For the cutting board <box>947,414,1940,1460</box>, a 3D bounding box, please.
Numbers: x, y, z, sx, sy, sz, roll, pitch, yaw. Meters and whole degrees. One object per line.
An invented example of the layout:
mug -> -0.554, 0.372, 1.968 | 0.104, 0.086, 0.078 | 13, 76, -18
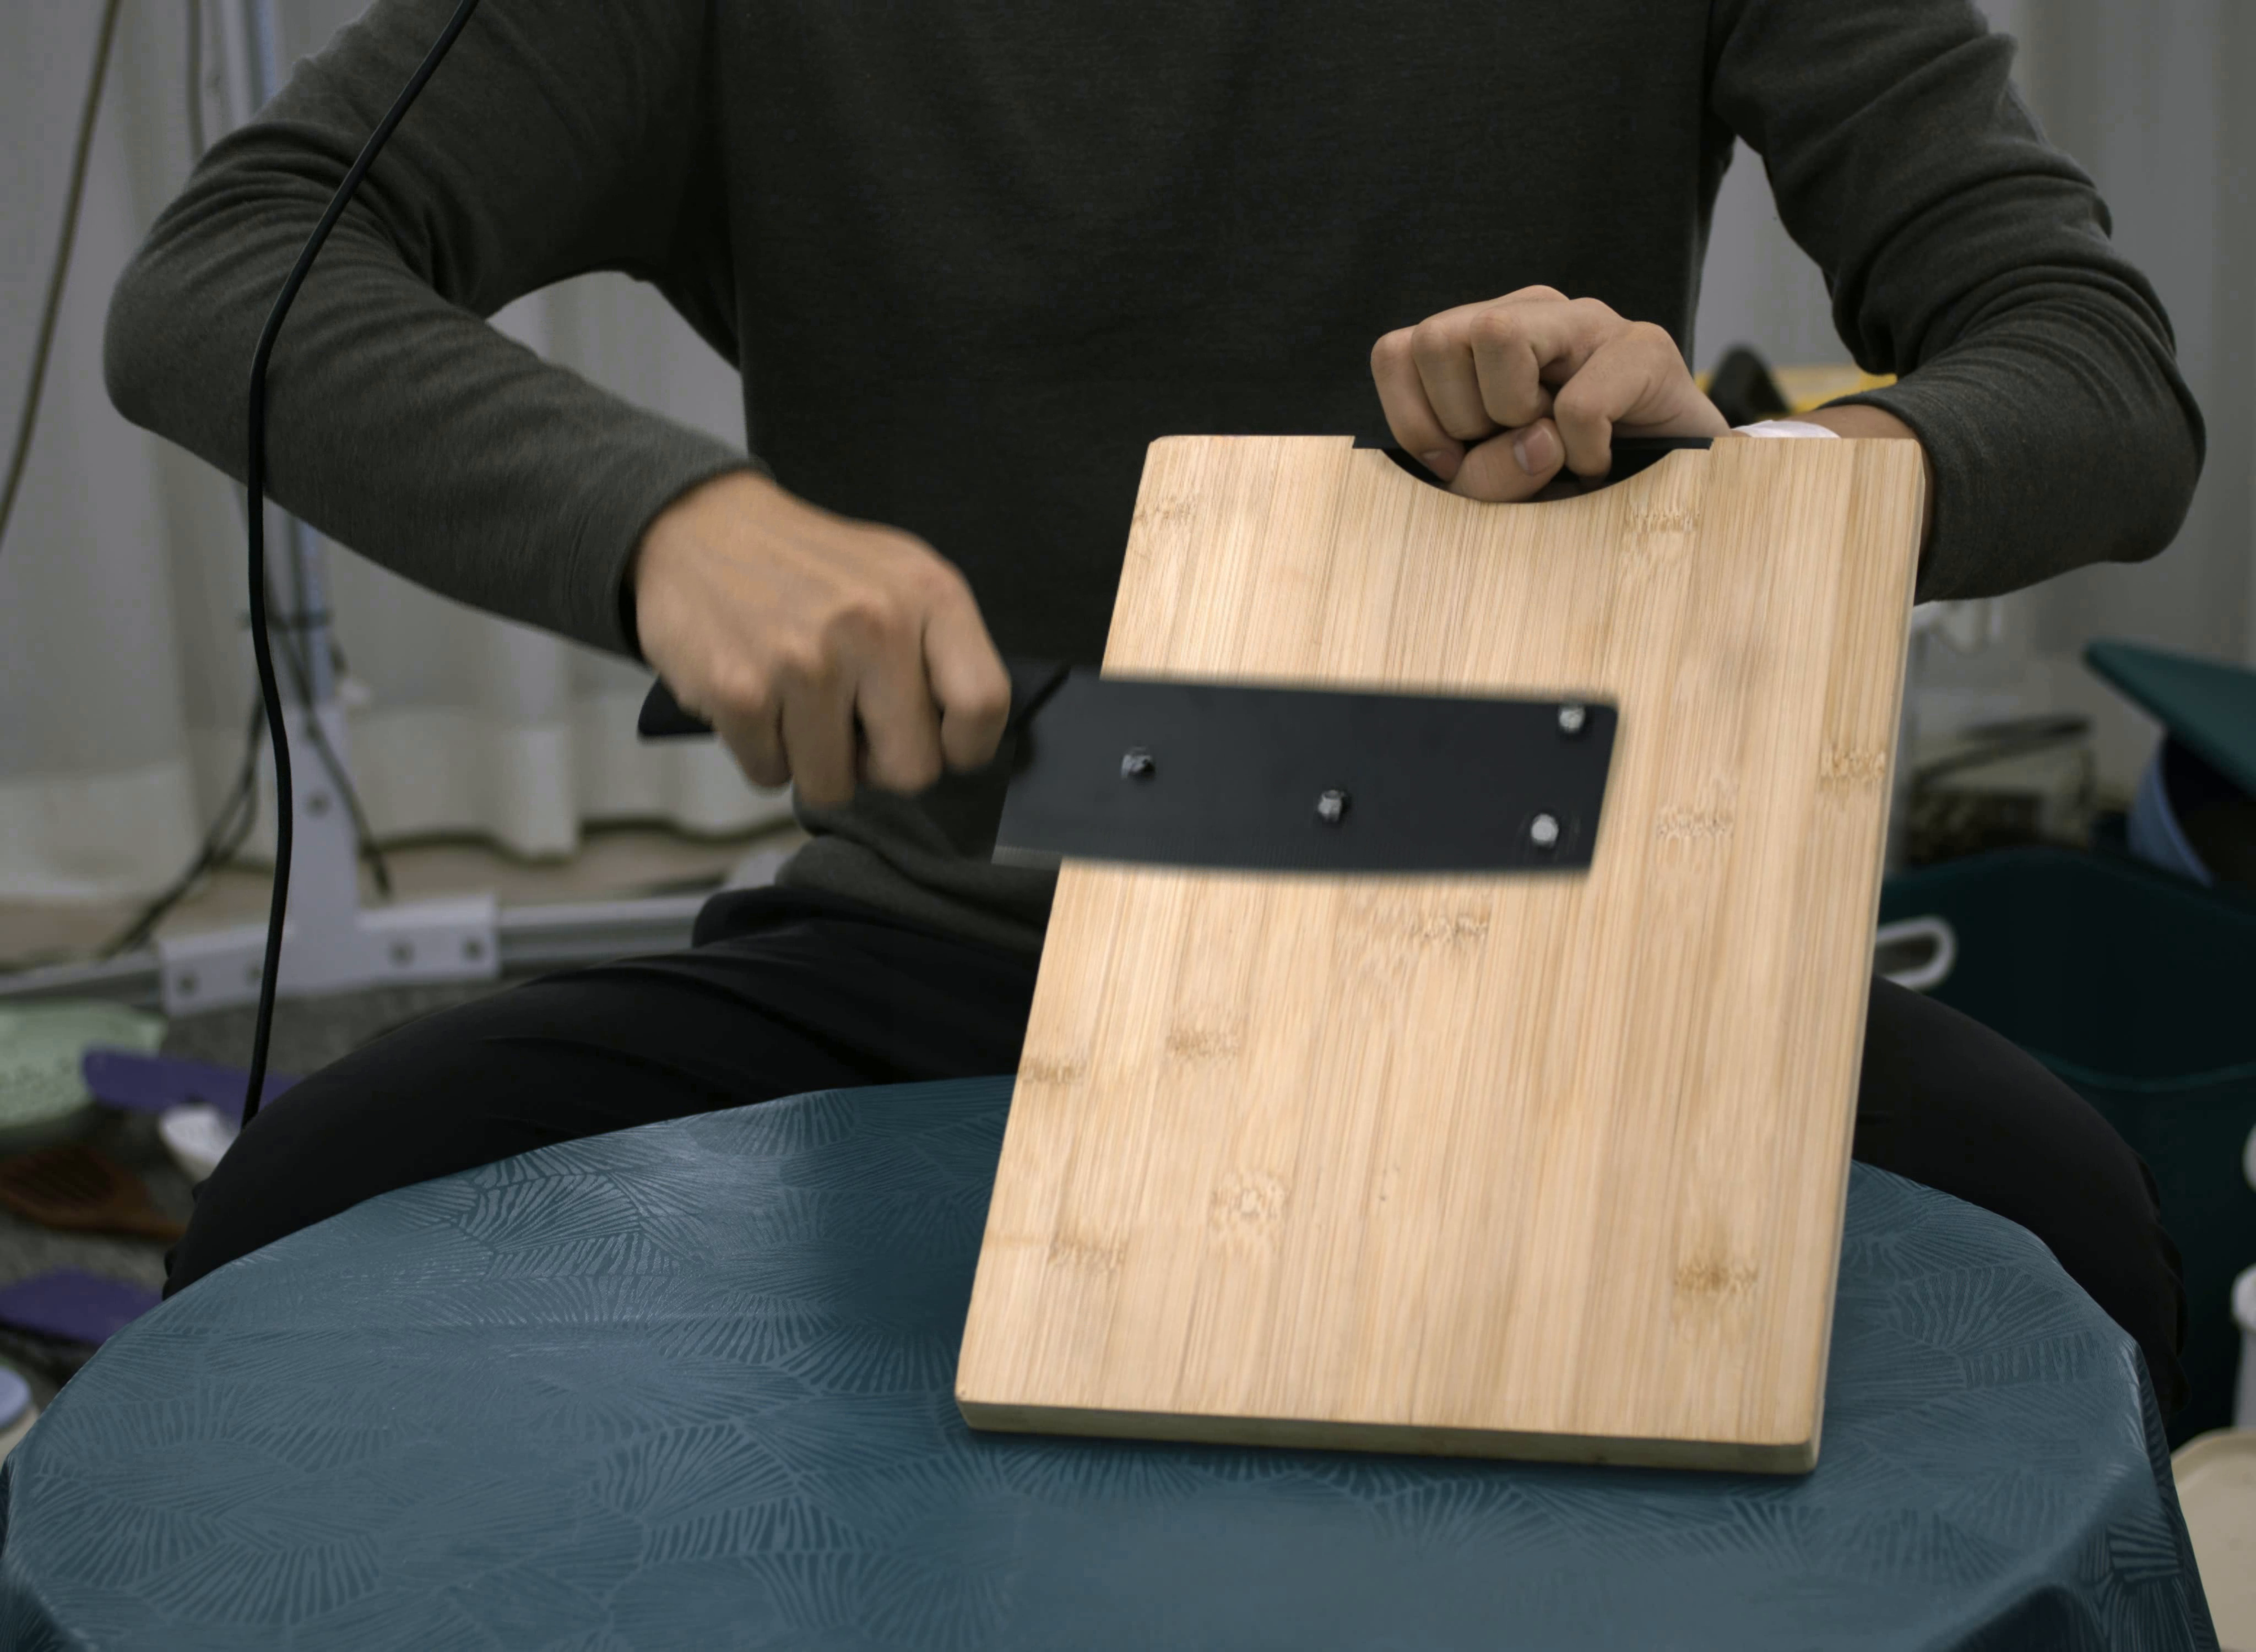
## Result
cutting board -> 0.097, 0.022, 1.583 | 0.250, 0.023, 0.353 | 1, 55, 15

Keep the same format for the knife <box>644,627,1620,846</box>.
knife -> -0.003, -0.028, 1.631 | 0.302, 0.020, 0.082 | 6, 59, 19
